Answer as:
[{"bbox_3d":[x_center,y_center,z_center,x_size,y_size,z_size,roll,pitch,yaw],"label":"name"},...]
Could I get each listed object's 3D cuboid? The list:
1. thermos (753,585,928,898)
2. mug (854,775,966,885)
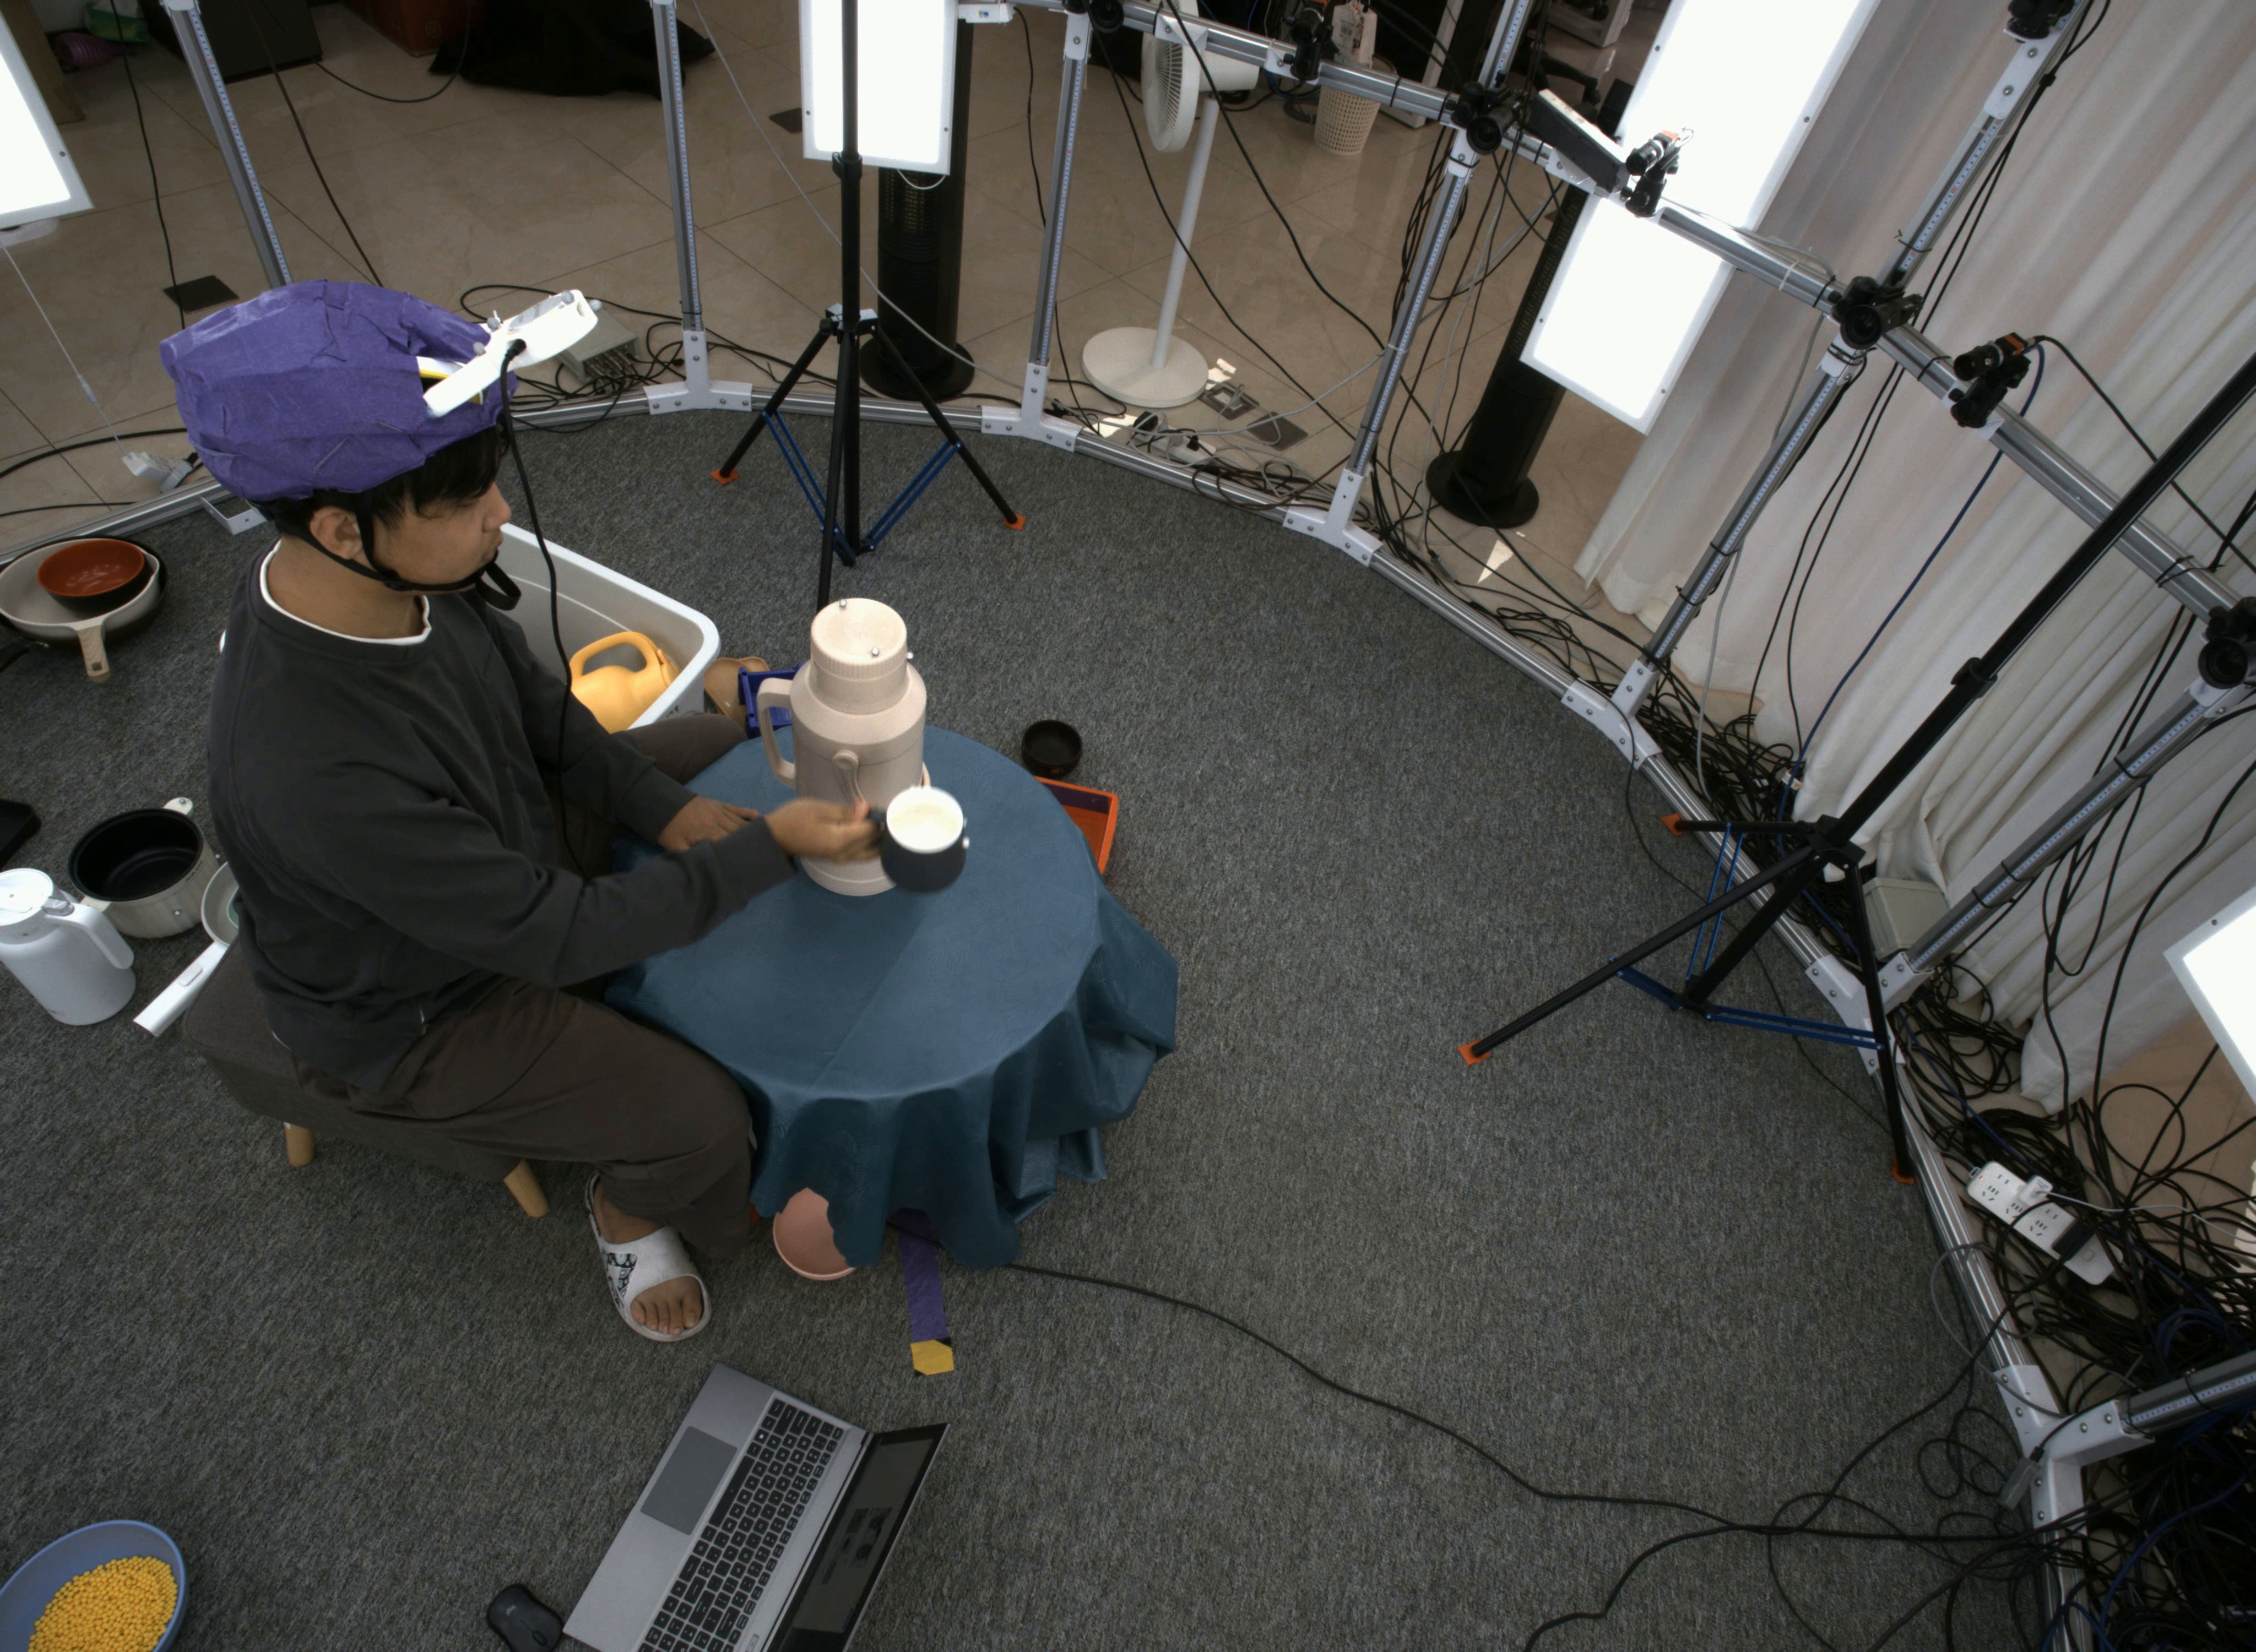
[{"bbox_3d":[-0.340,-0.099,1.559,0.206,0.415,0.172,7,51,-7],"label":"thermos"},{"bbox_3d":[-0.233,-0.001,1.384,0.122,0.091,0.092,16,57,0],"label":"mug"}]
